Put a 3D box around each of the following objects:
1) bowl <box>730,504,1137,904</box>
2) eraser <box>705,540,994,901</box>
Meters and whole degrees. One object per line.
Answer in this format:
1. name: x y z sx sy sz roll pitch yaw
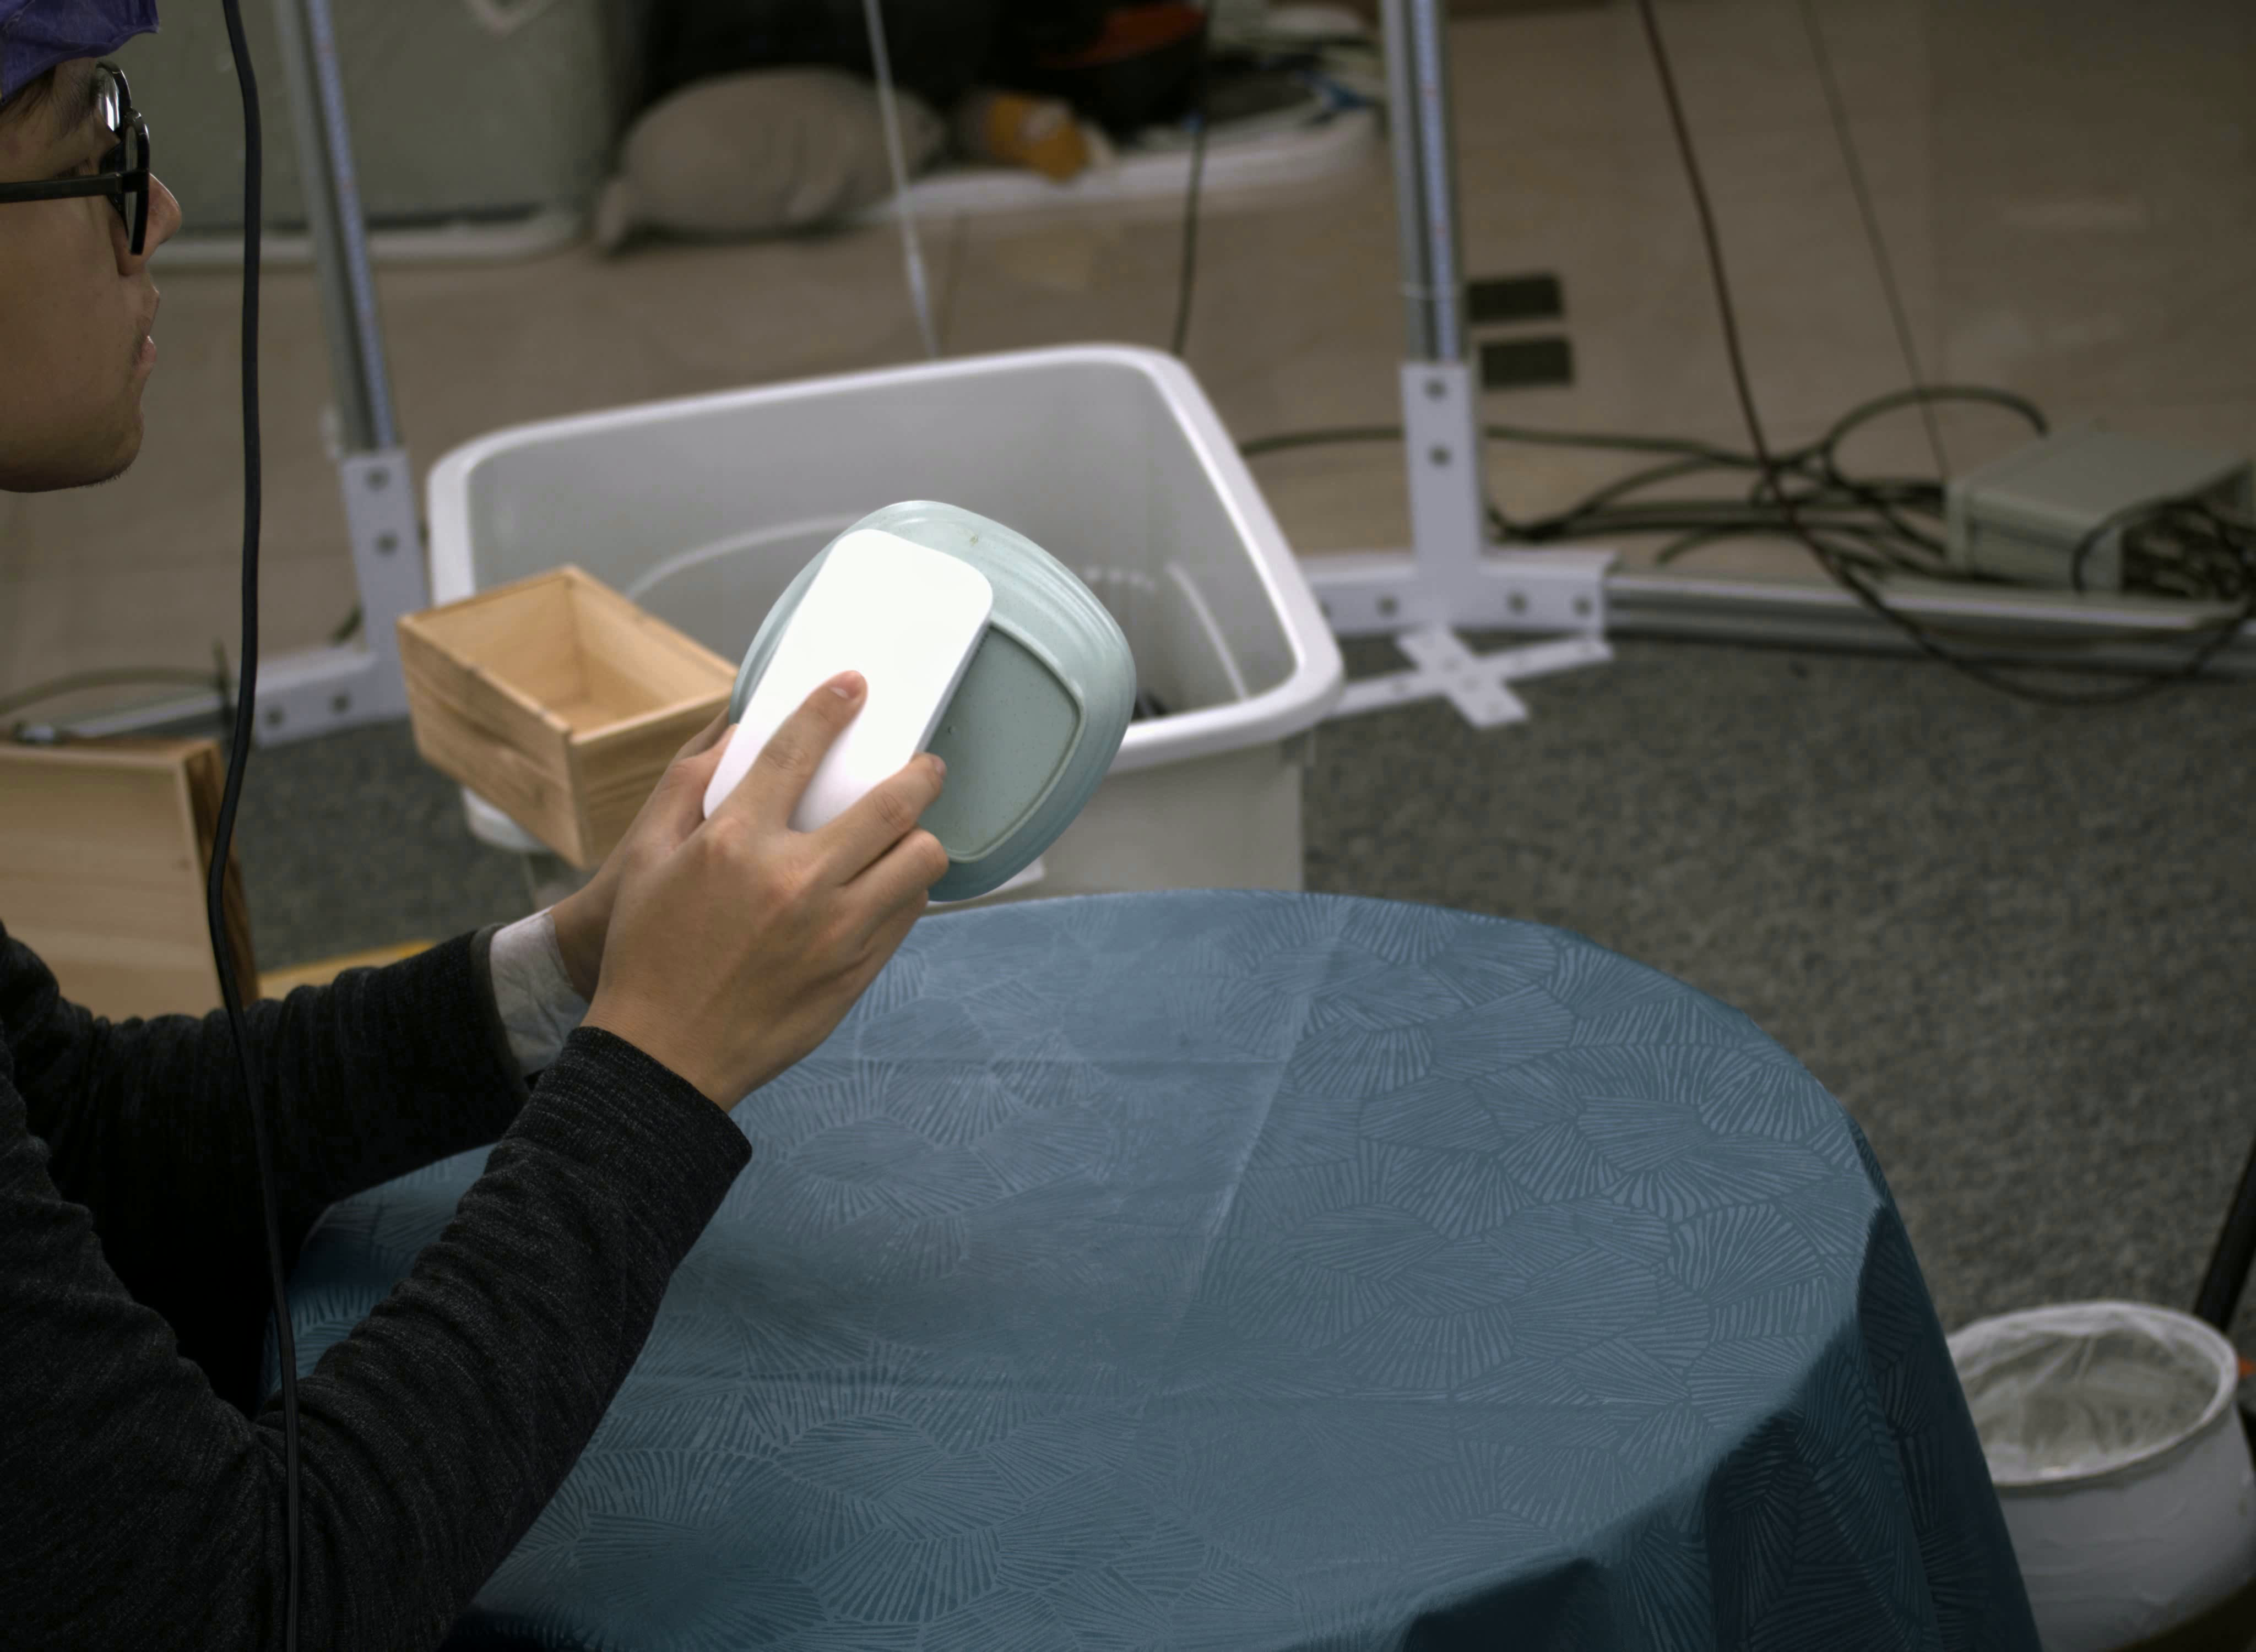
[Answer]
1. bowl: -0.067 -0.038 2.051 0.151 0.153 0.058 -9 17 -6
2. eraser: -0.098 -0.039 1.980 0.063 0.035 0.130 23 69 12
